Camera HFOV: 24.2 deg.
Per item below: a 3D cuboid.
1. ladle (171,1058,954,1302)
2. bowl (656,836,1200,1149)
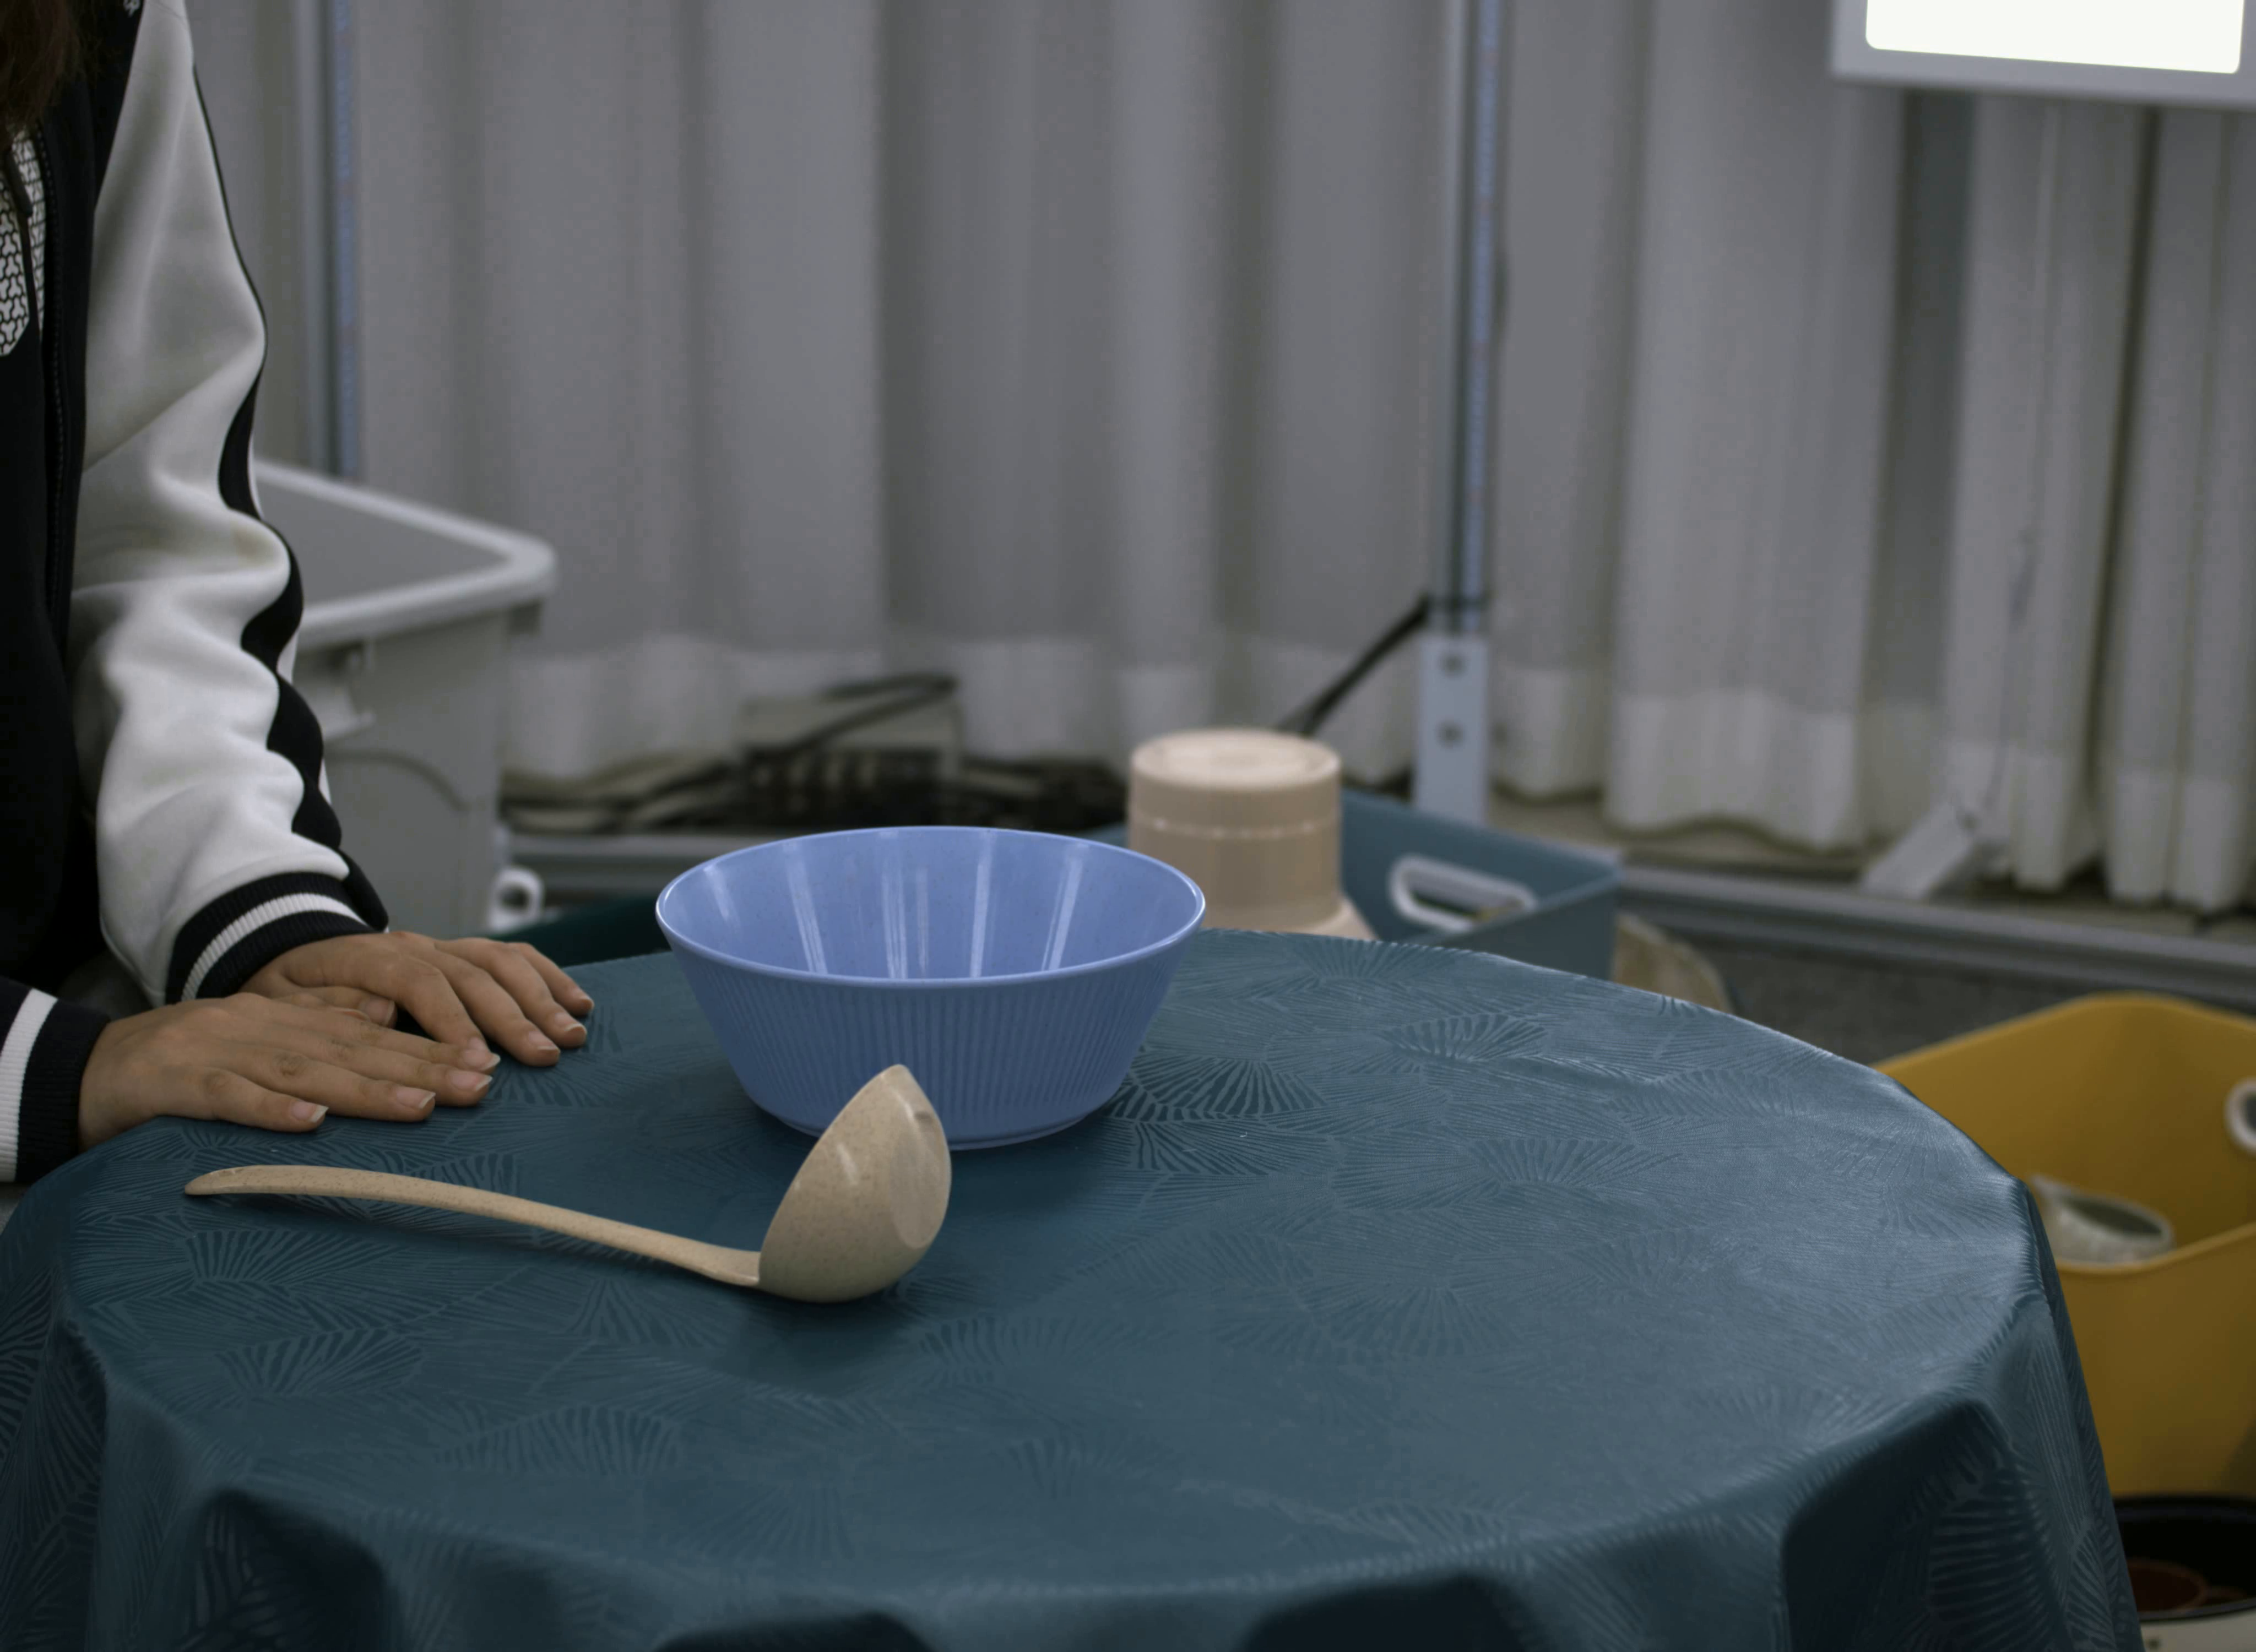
[{"bbox_3d":[-0.174,0.092,1.553,0.252,0.073,0.072,6,17,20],"label":"ladle"},{"bbox_3d":[-0.064,0.055,1.694,0.175,0.071,0.175,1,15,0],"label":"bowl"}]
